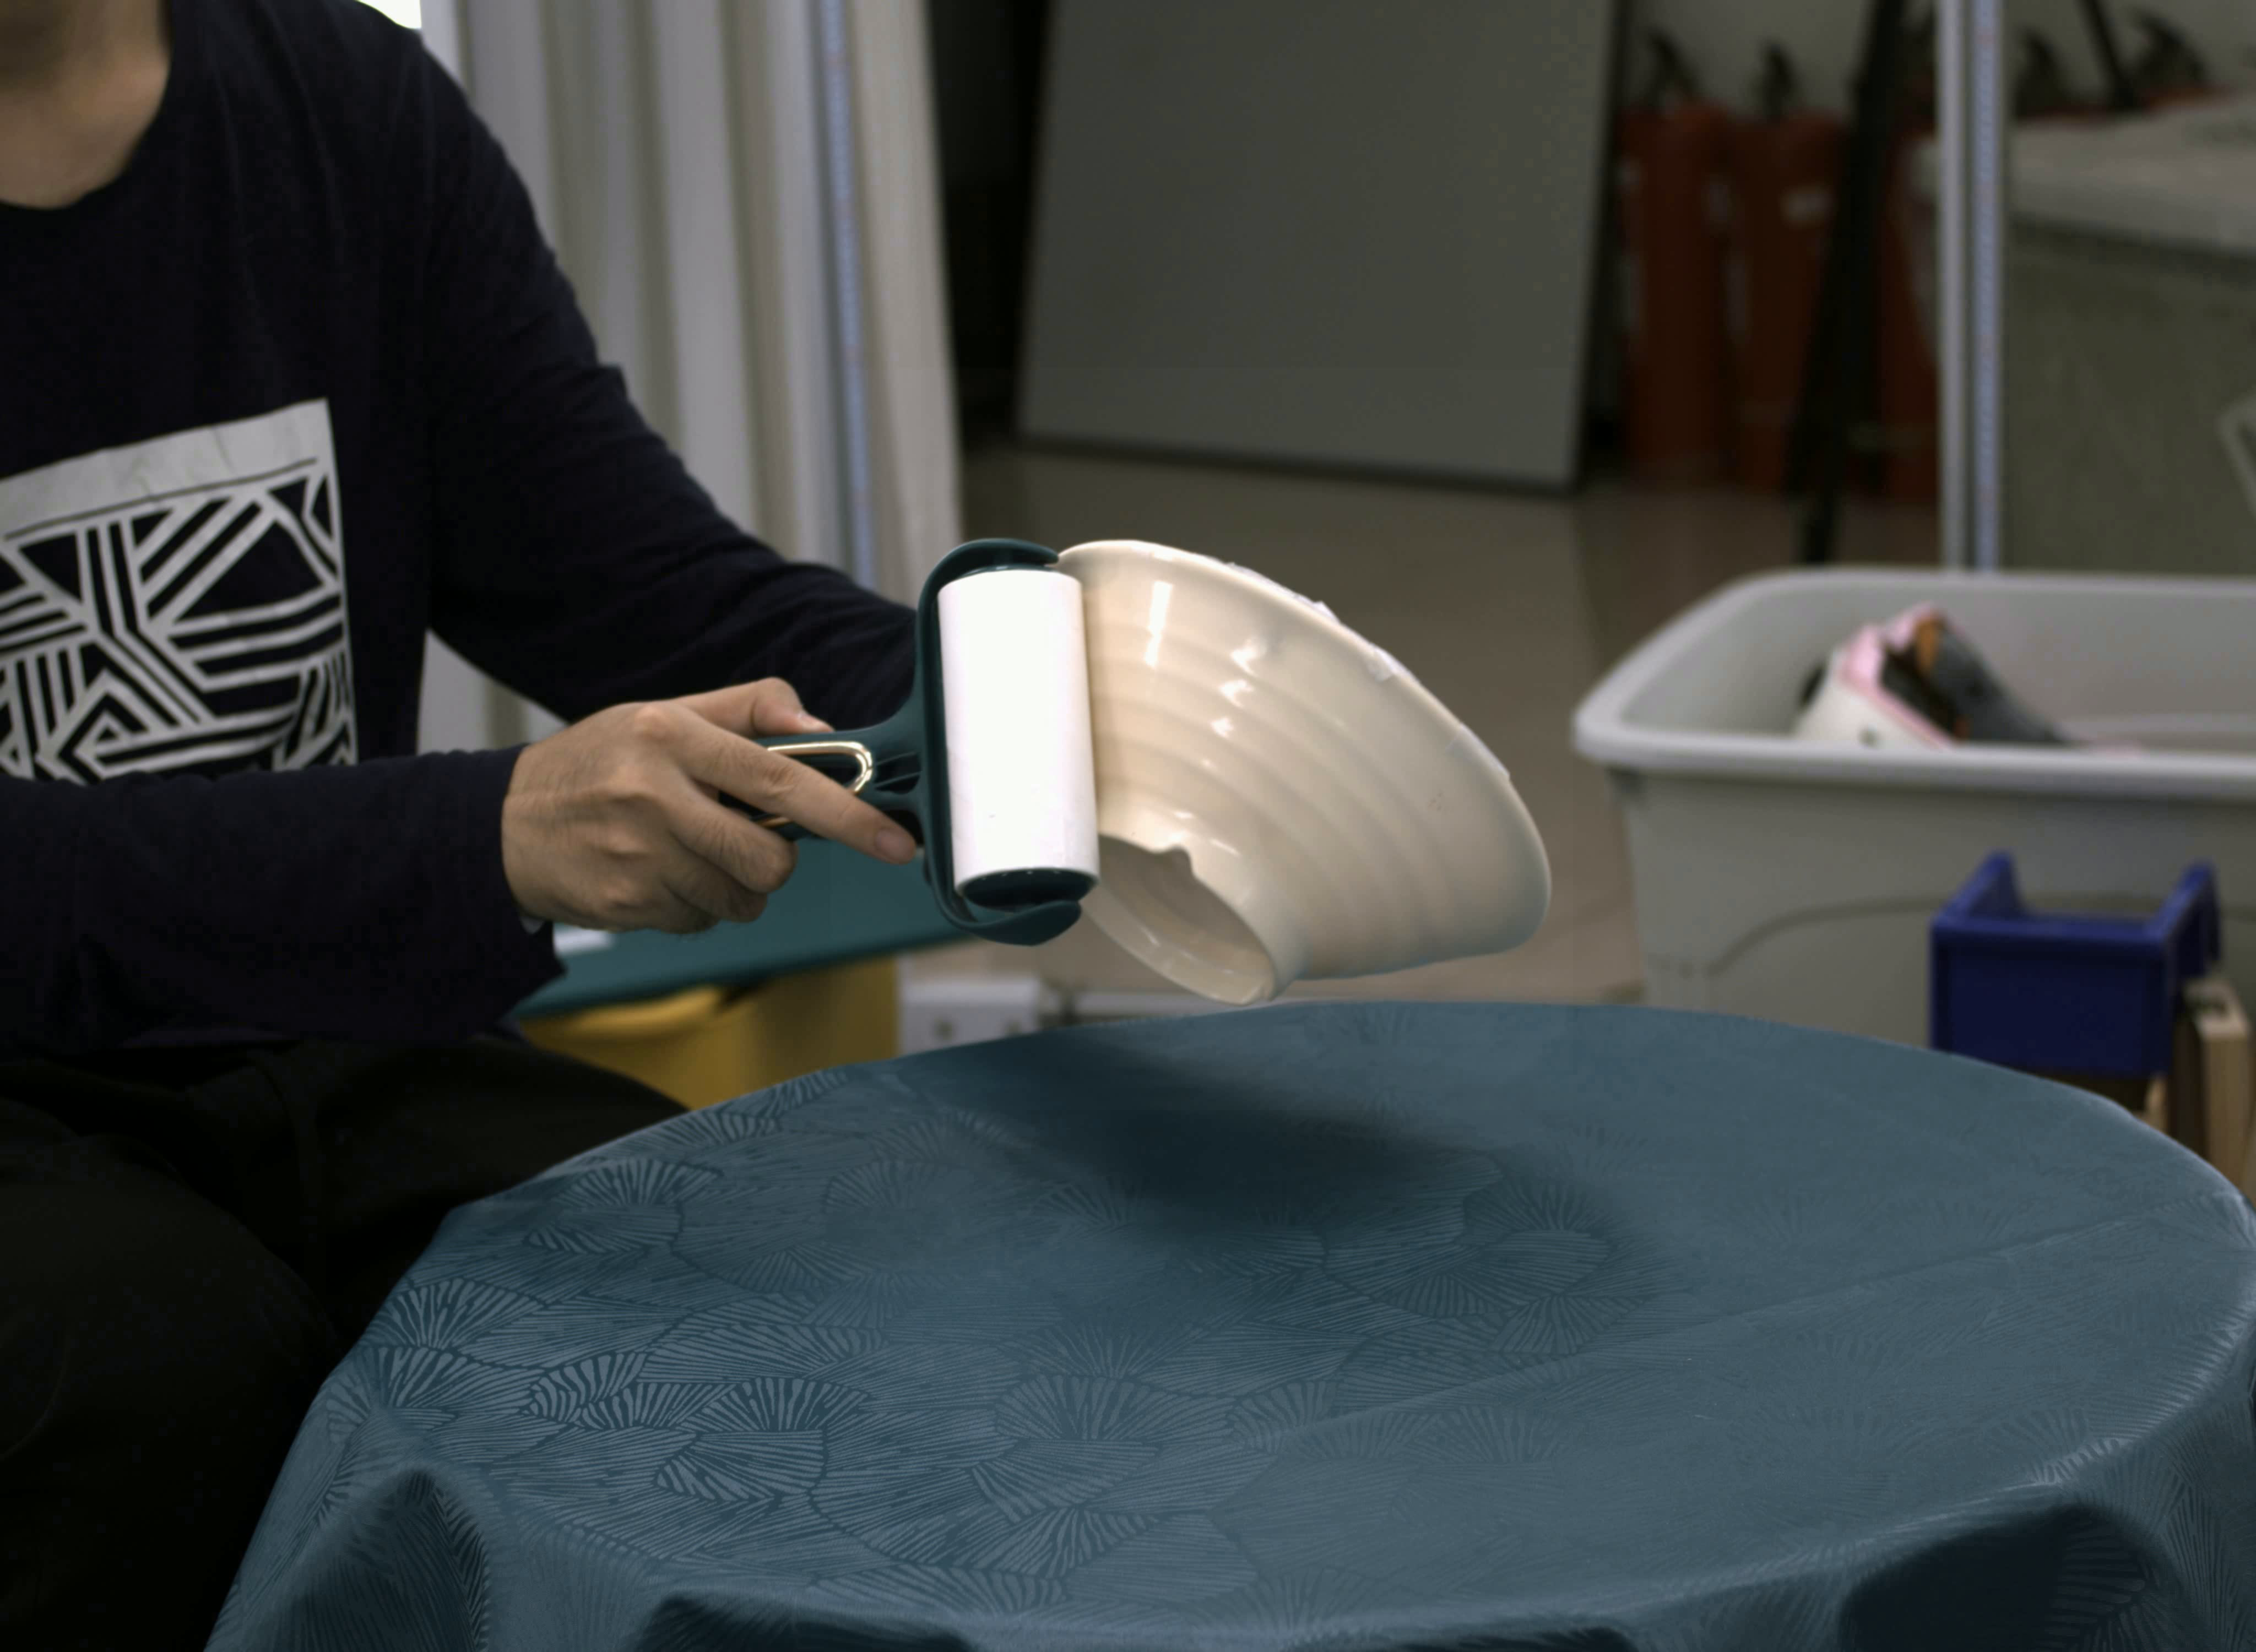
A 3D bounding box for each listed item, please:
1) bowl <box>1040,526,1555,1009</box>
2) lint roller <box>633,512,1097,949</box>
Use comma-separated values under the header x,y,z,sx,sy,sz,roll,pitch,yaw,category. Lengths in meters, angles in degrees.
x,y,z,sx,sy,sz,roll,pitch,yaw,category
0.034,0.002,1.754,0.206,0.203,0.078,9,53,42,bowl
-0.095,-0.016,1.753,0.180,0.136,0.047,-12,-18,25,lint roller
